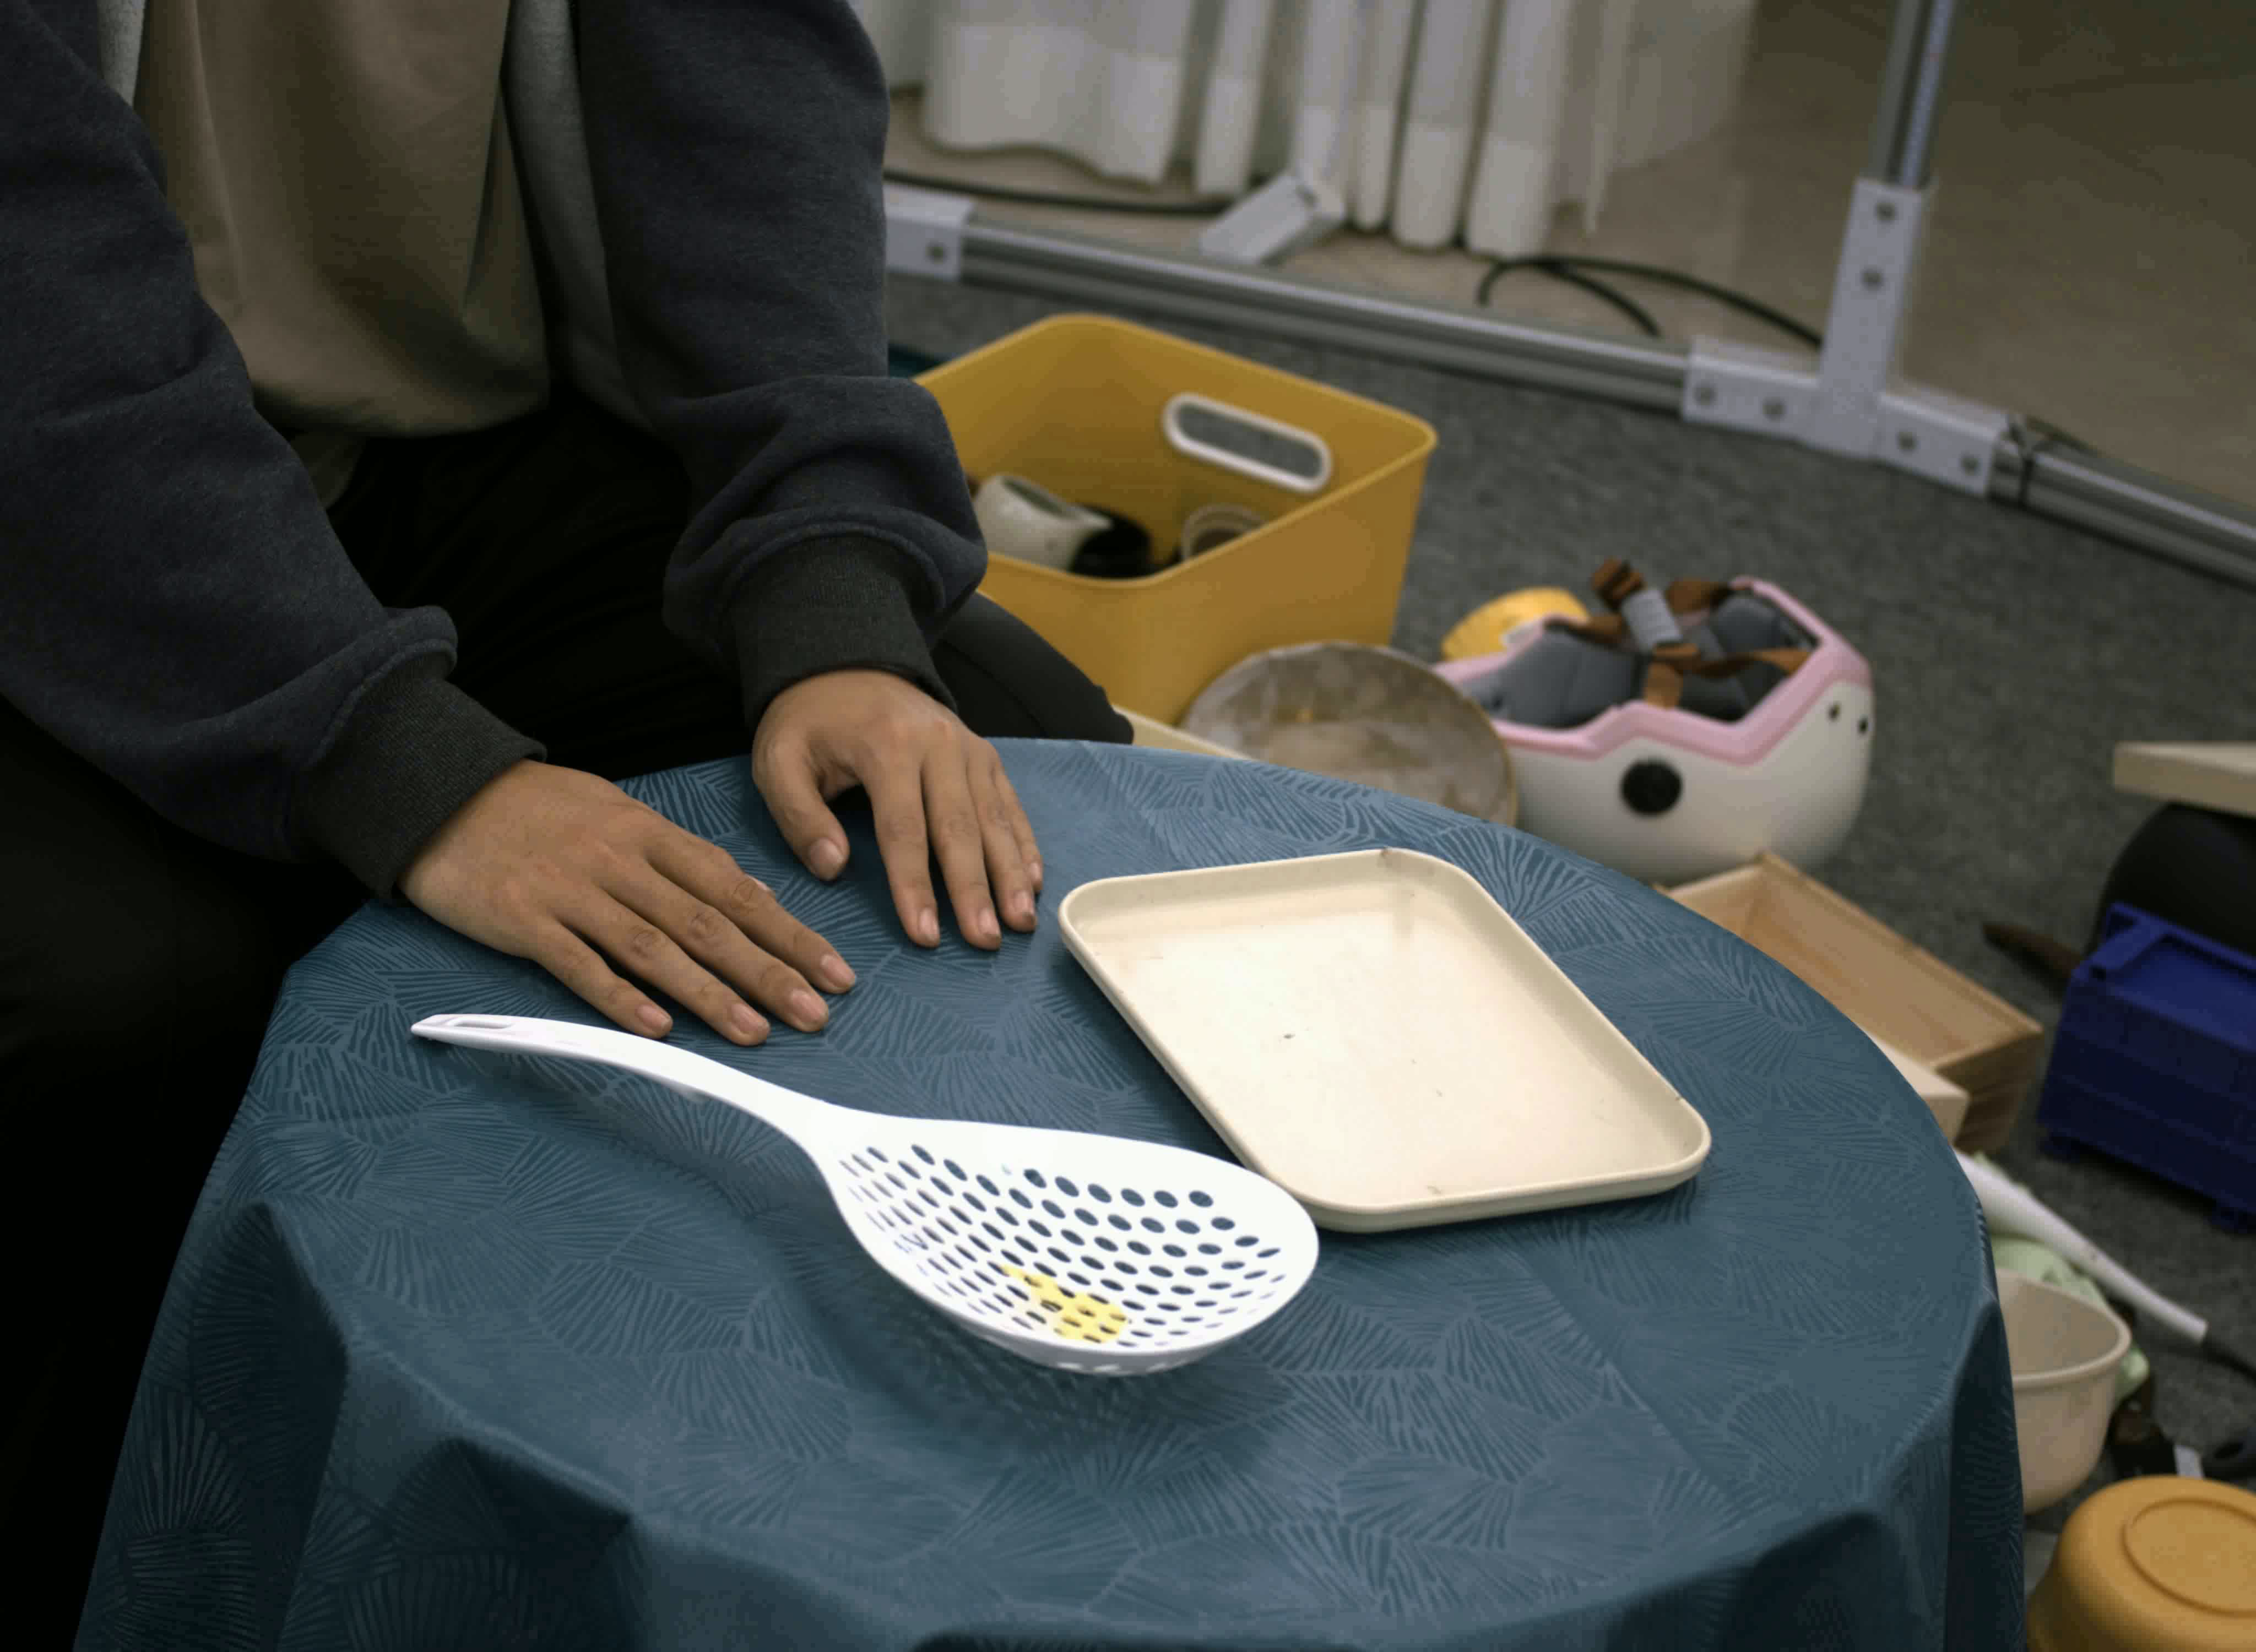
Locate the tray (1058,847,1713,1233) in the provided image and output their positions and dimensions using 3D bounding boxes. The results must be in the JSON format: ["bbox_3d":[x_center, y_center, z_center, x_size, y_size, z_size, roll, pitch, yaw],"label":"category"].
[{"bbox_3d":[0.088,0.075,1.897,0.170,0.017,0.242,-6,30,-22],"label":"tray"}]

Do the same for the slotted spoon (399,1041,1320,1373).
[{"bbox_3d":[-0.099,0.111,1.760,0.350,0.050,0.136,21,34,27],"label":"slotted spoon"}]
